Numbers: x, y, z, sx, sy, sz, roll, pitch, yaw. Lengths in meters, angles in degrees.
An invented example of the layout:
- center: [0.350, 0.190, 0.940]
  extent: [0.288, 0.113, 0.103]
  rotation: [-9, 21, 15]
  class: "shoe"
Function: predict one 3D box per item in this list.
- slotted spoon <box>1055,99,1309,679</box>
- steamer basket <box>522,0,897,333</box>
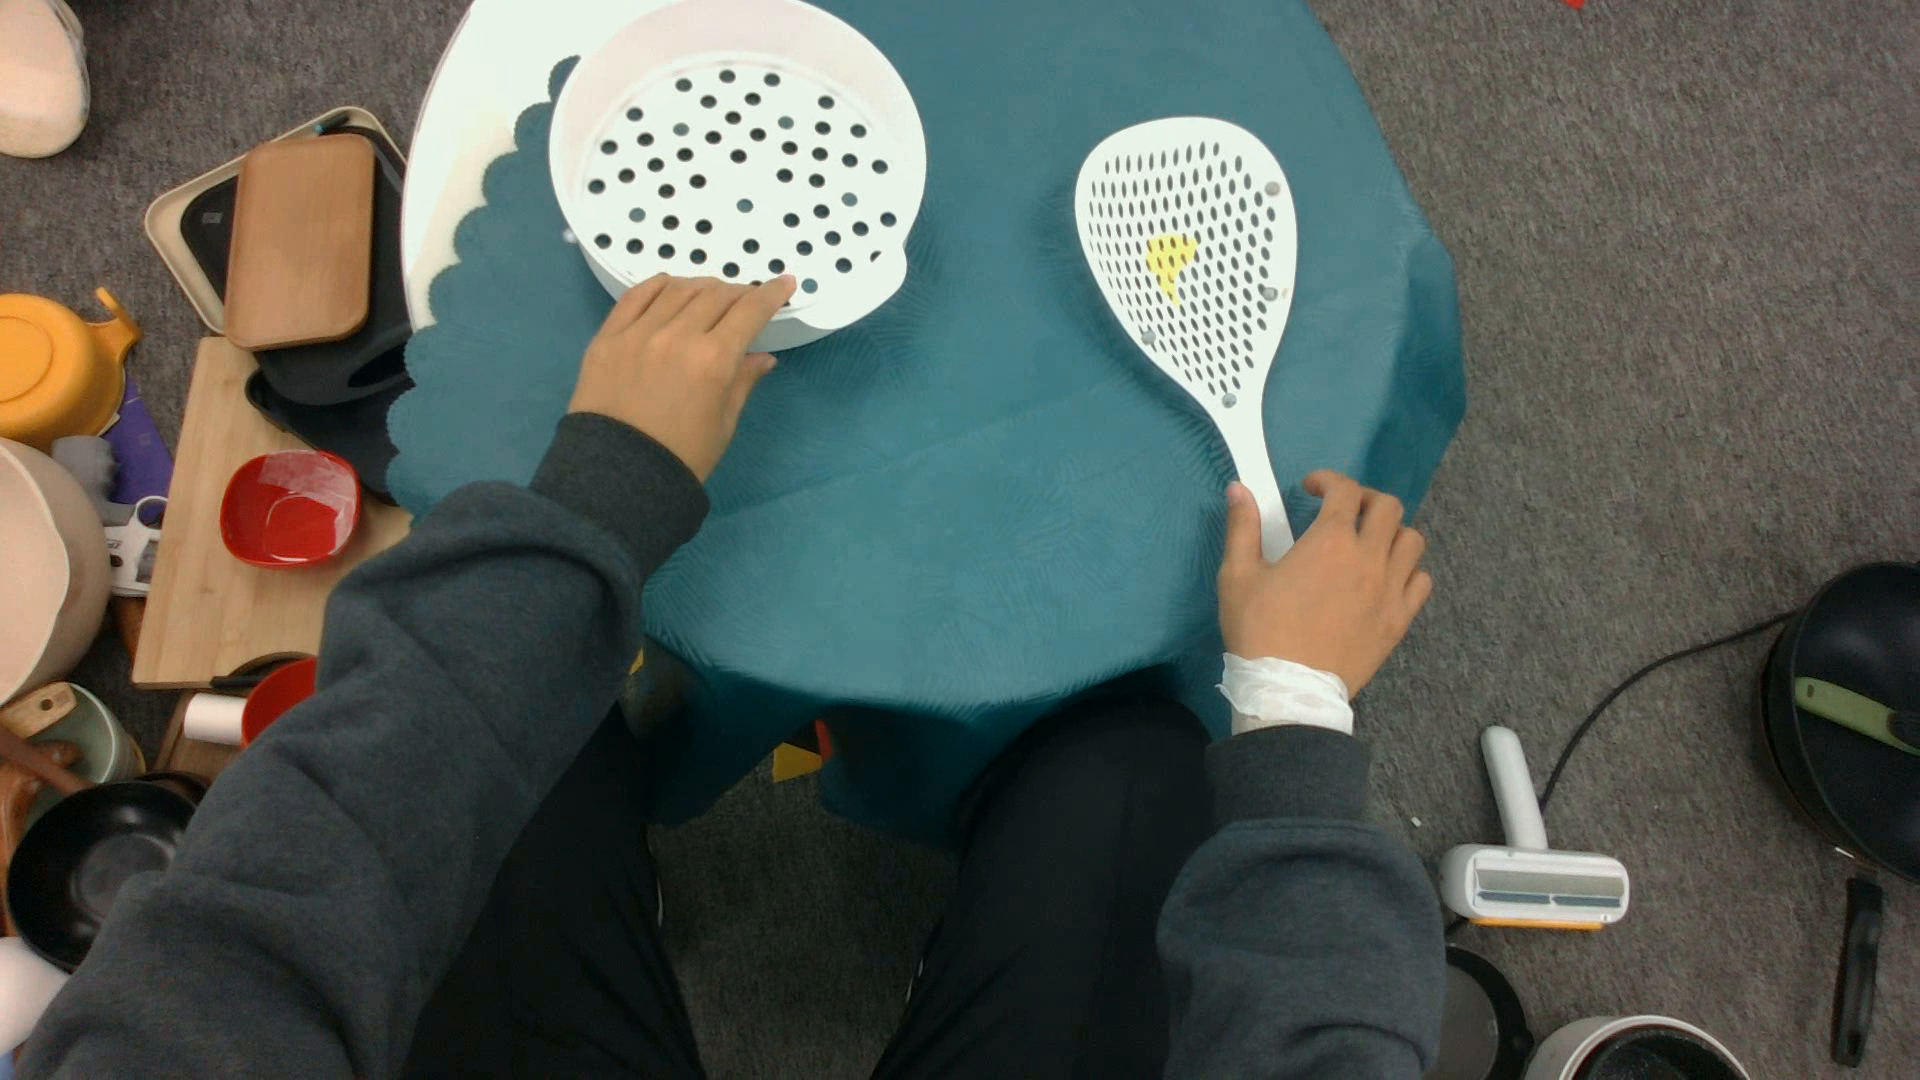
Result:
- center: [0.147, -0.087, 0.805]
  extent: [0.137, 0.050, 0.348]
  rotation: [-15, 83, -17]
  class: "slotted spoon"
- center: [-0.138, -0.214, 0.775]
  extent: [0.202, 0.069, 0.230]
  rotation: [-39, 81, -16]
  class: "steamer basket"
